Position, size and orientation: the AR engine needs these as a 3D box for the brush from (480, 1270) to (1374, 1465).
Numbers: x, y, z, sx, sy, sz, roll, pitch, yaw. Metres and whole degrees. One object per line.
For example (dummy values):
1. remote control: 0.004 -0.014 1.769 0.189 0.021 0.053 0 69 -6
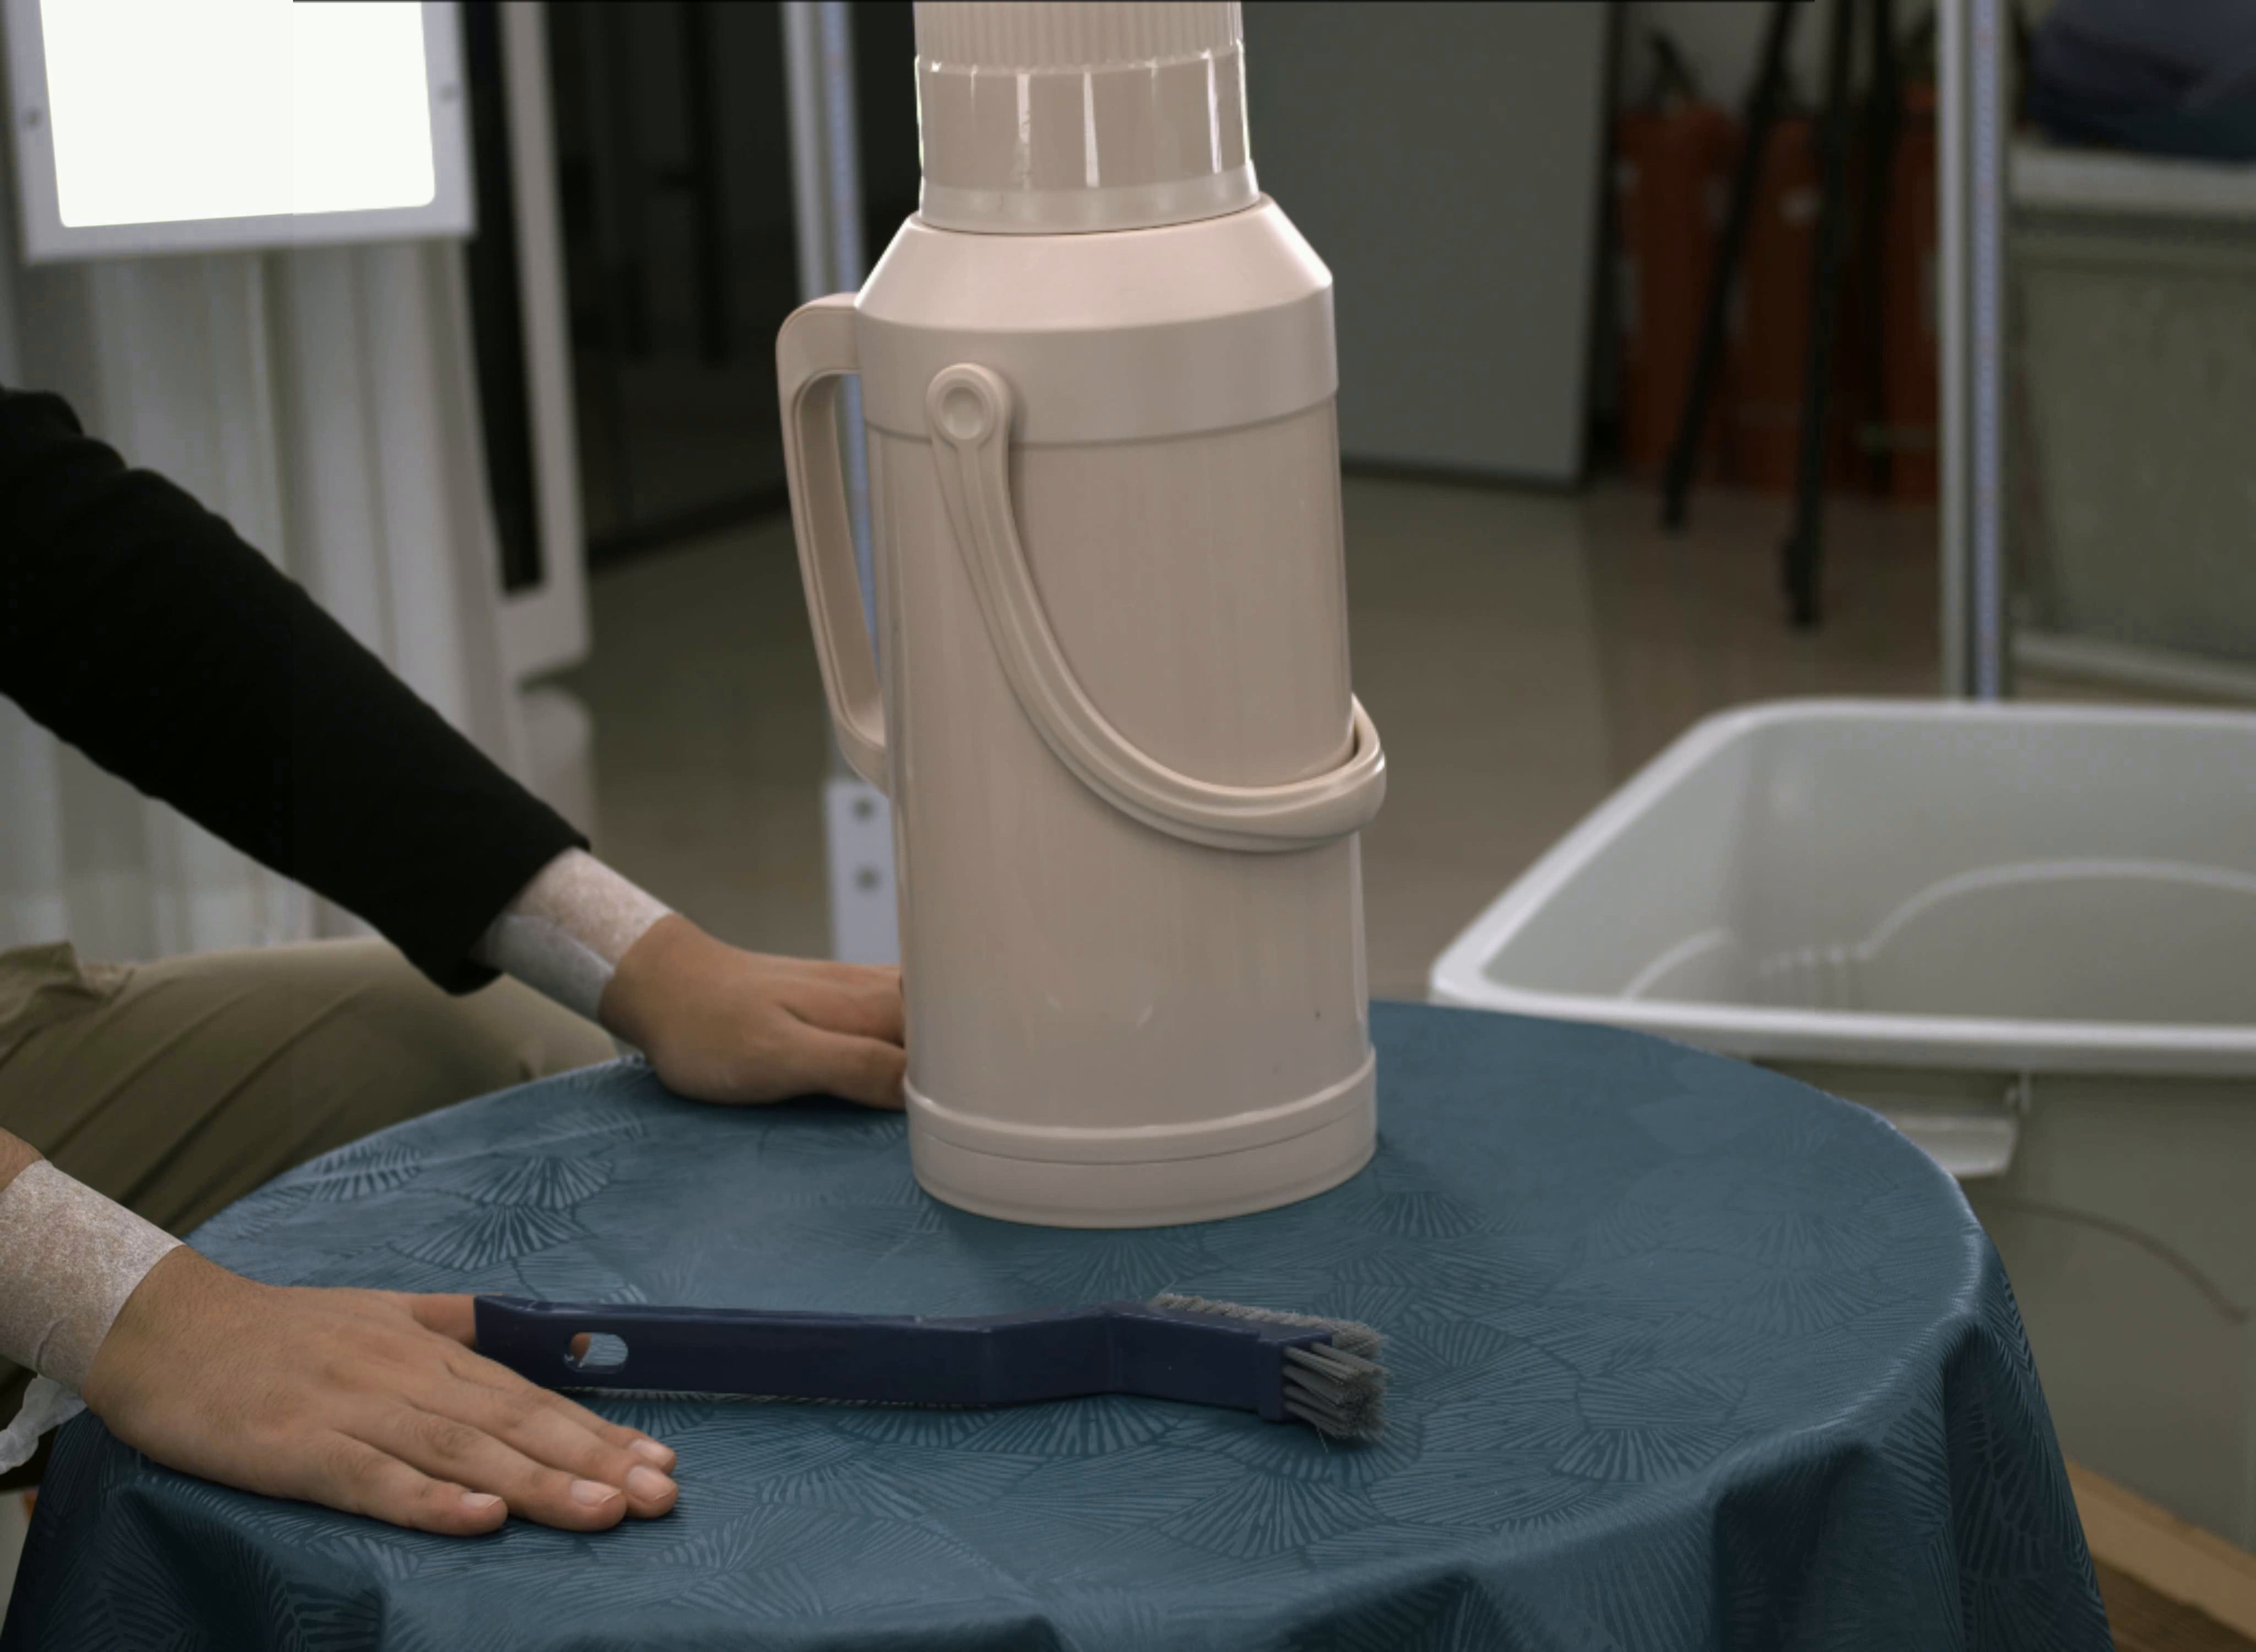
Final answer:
1. brush: -0.063 0.156 1.575 0.271 0.034 0.095 0 13 8

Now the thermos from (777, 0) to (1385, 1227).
1. thermos: -0.018 -0.084 1.772 0.208 0.410 0.173 4 17 29
